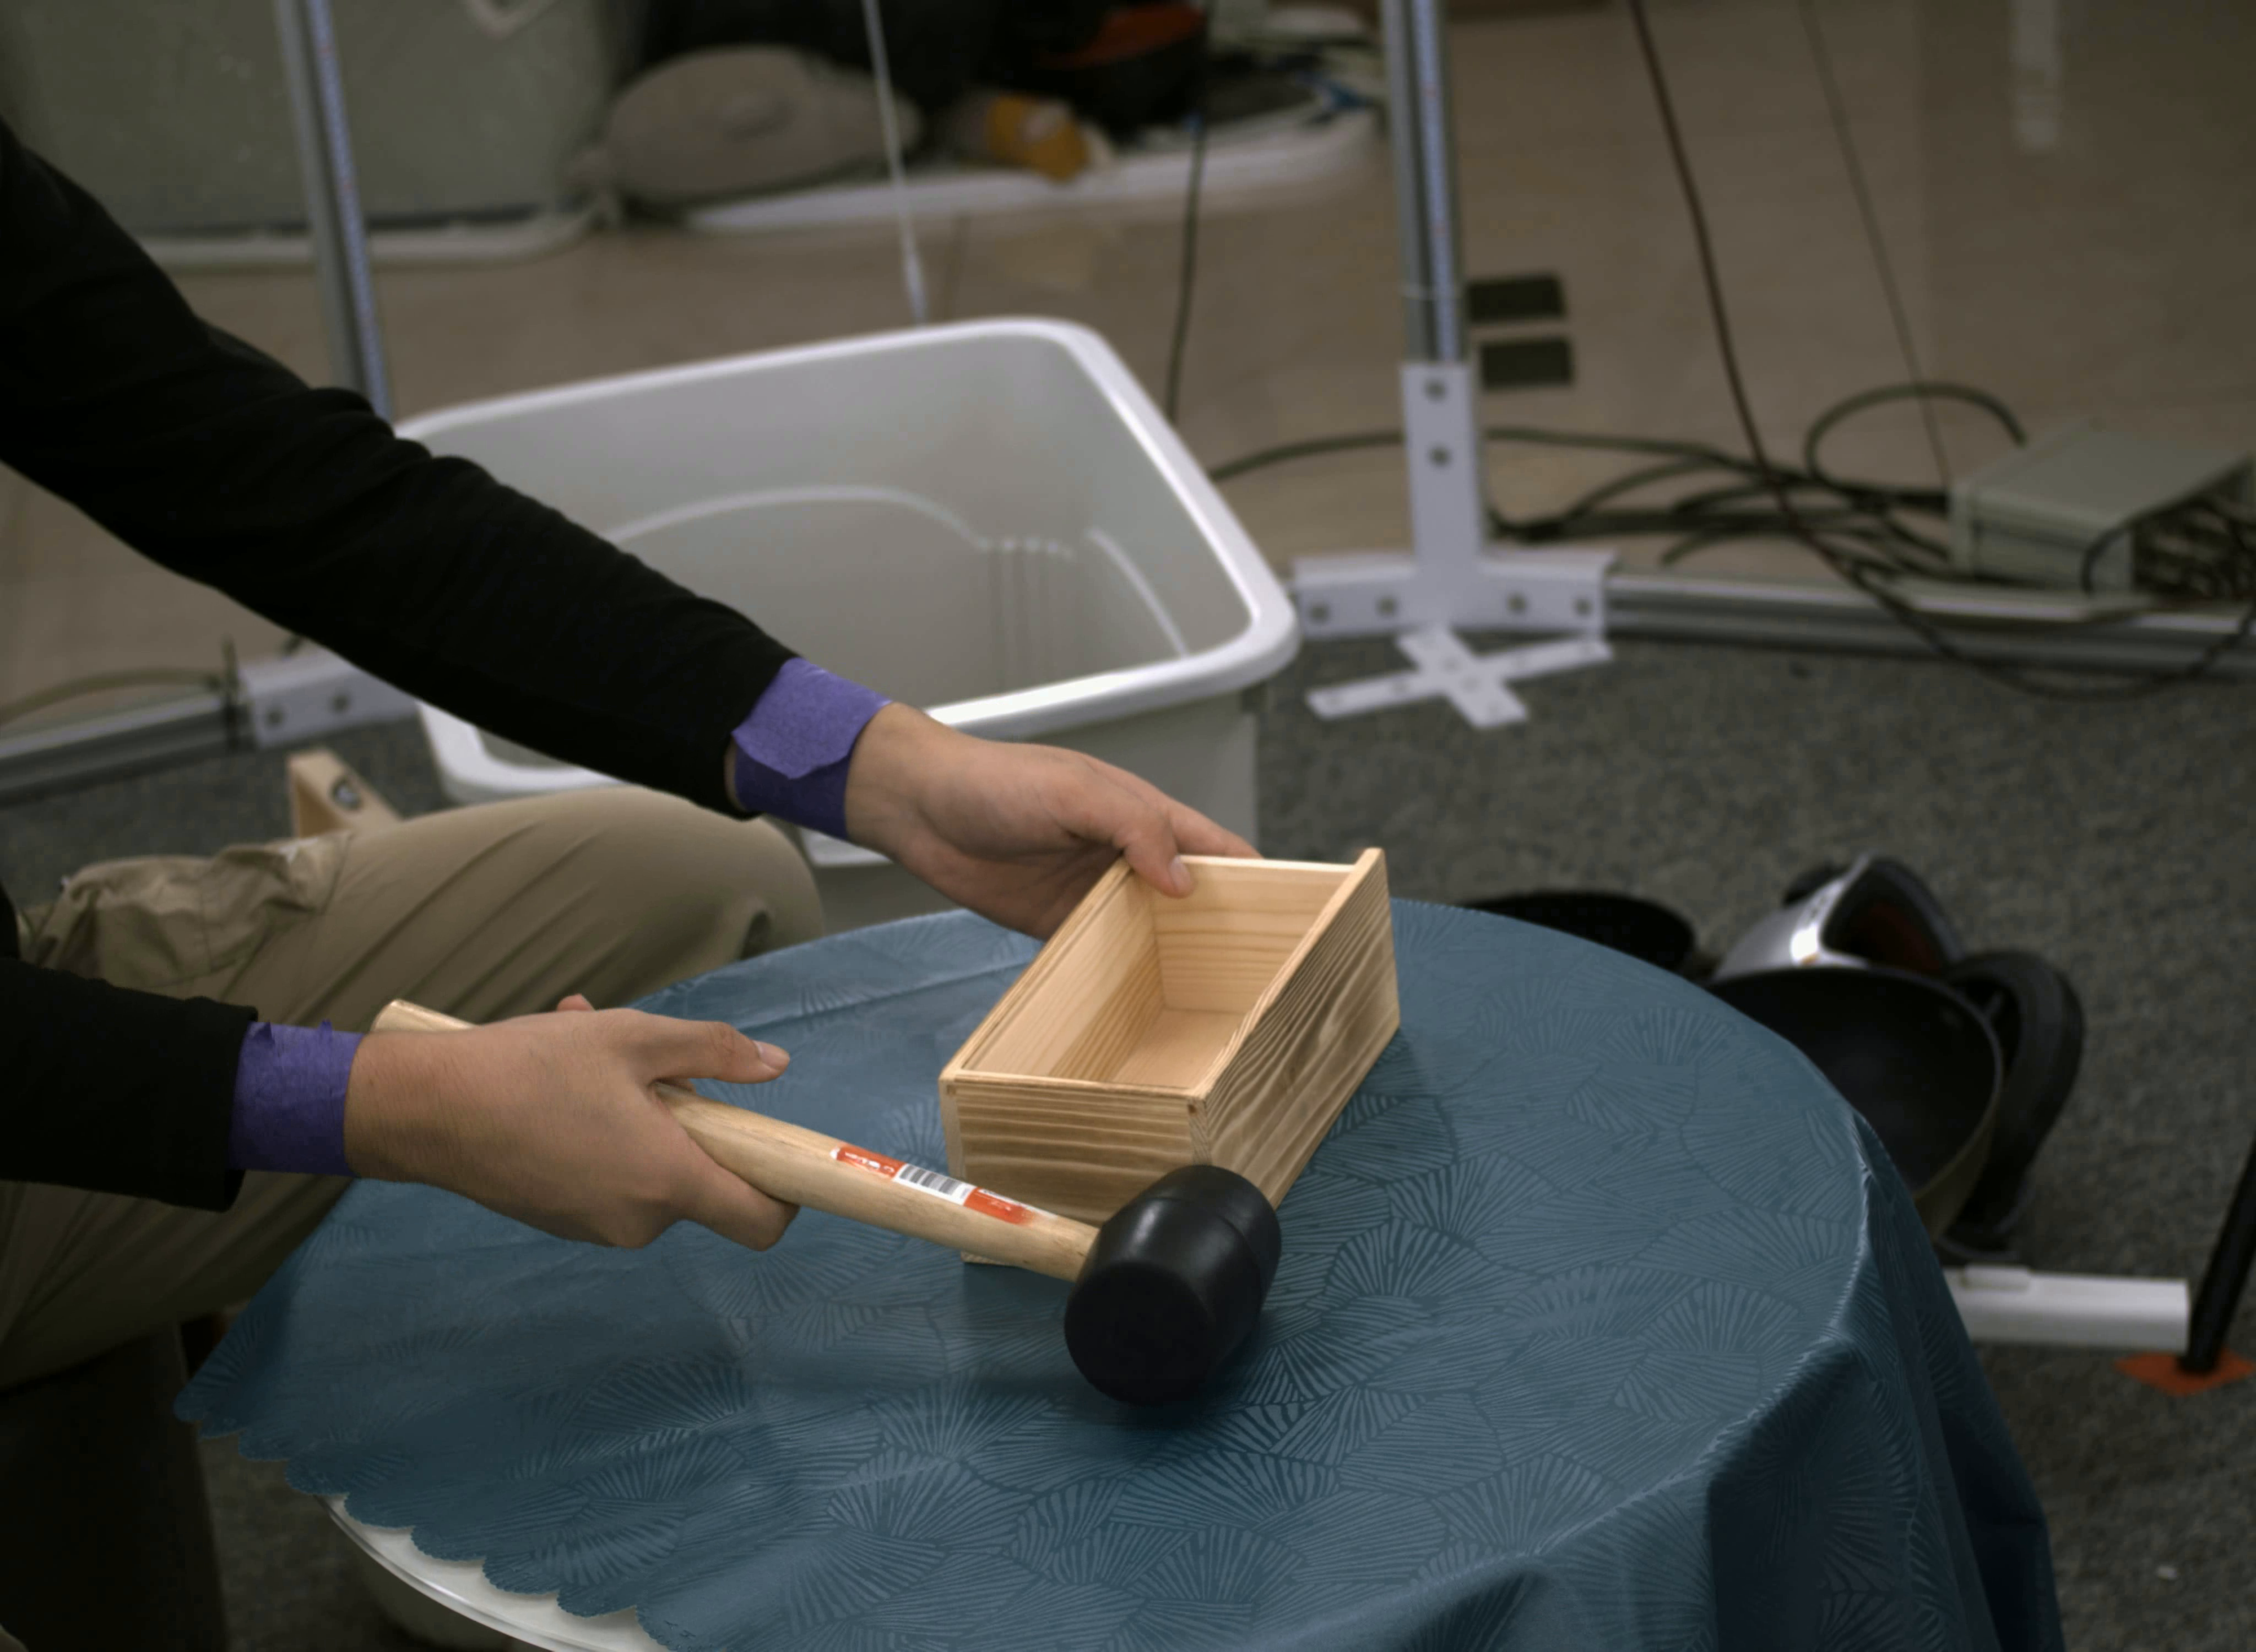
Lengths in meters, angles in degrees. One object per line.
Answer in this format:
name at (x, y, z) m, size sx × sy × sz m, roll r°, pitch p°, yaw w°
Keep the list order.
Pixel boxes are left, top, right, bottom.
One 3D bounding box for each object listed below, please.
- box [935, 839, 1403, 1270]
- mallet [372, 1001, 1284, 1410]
box at (0.019, 0.086, 2.163) m, size 0.107 × 0.081 × 0.208 m, roll 4°, pitch 27°, yaw 21°
mallet at (-0.110, 0.118, 2.035) m, size 0.338 × 0.065 × 0.101 m, roll 20°, pitch 20°, yaw 9°
